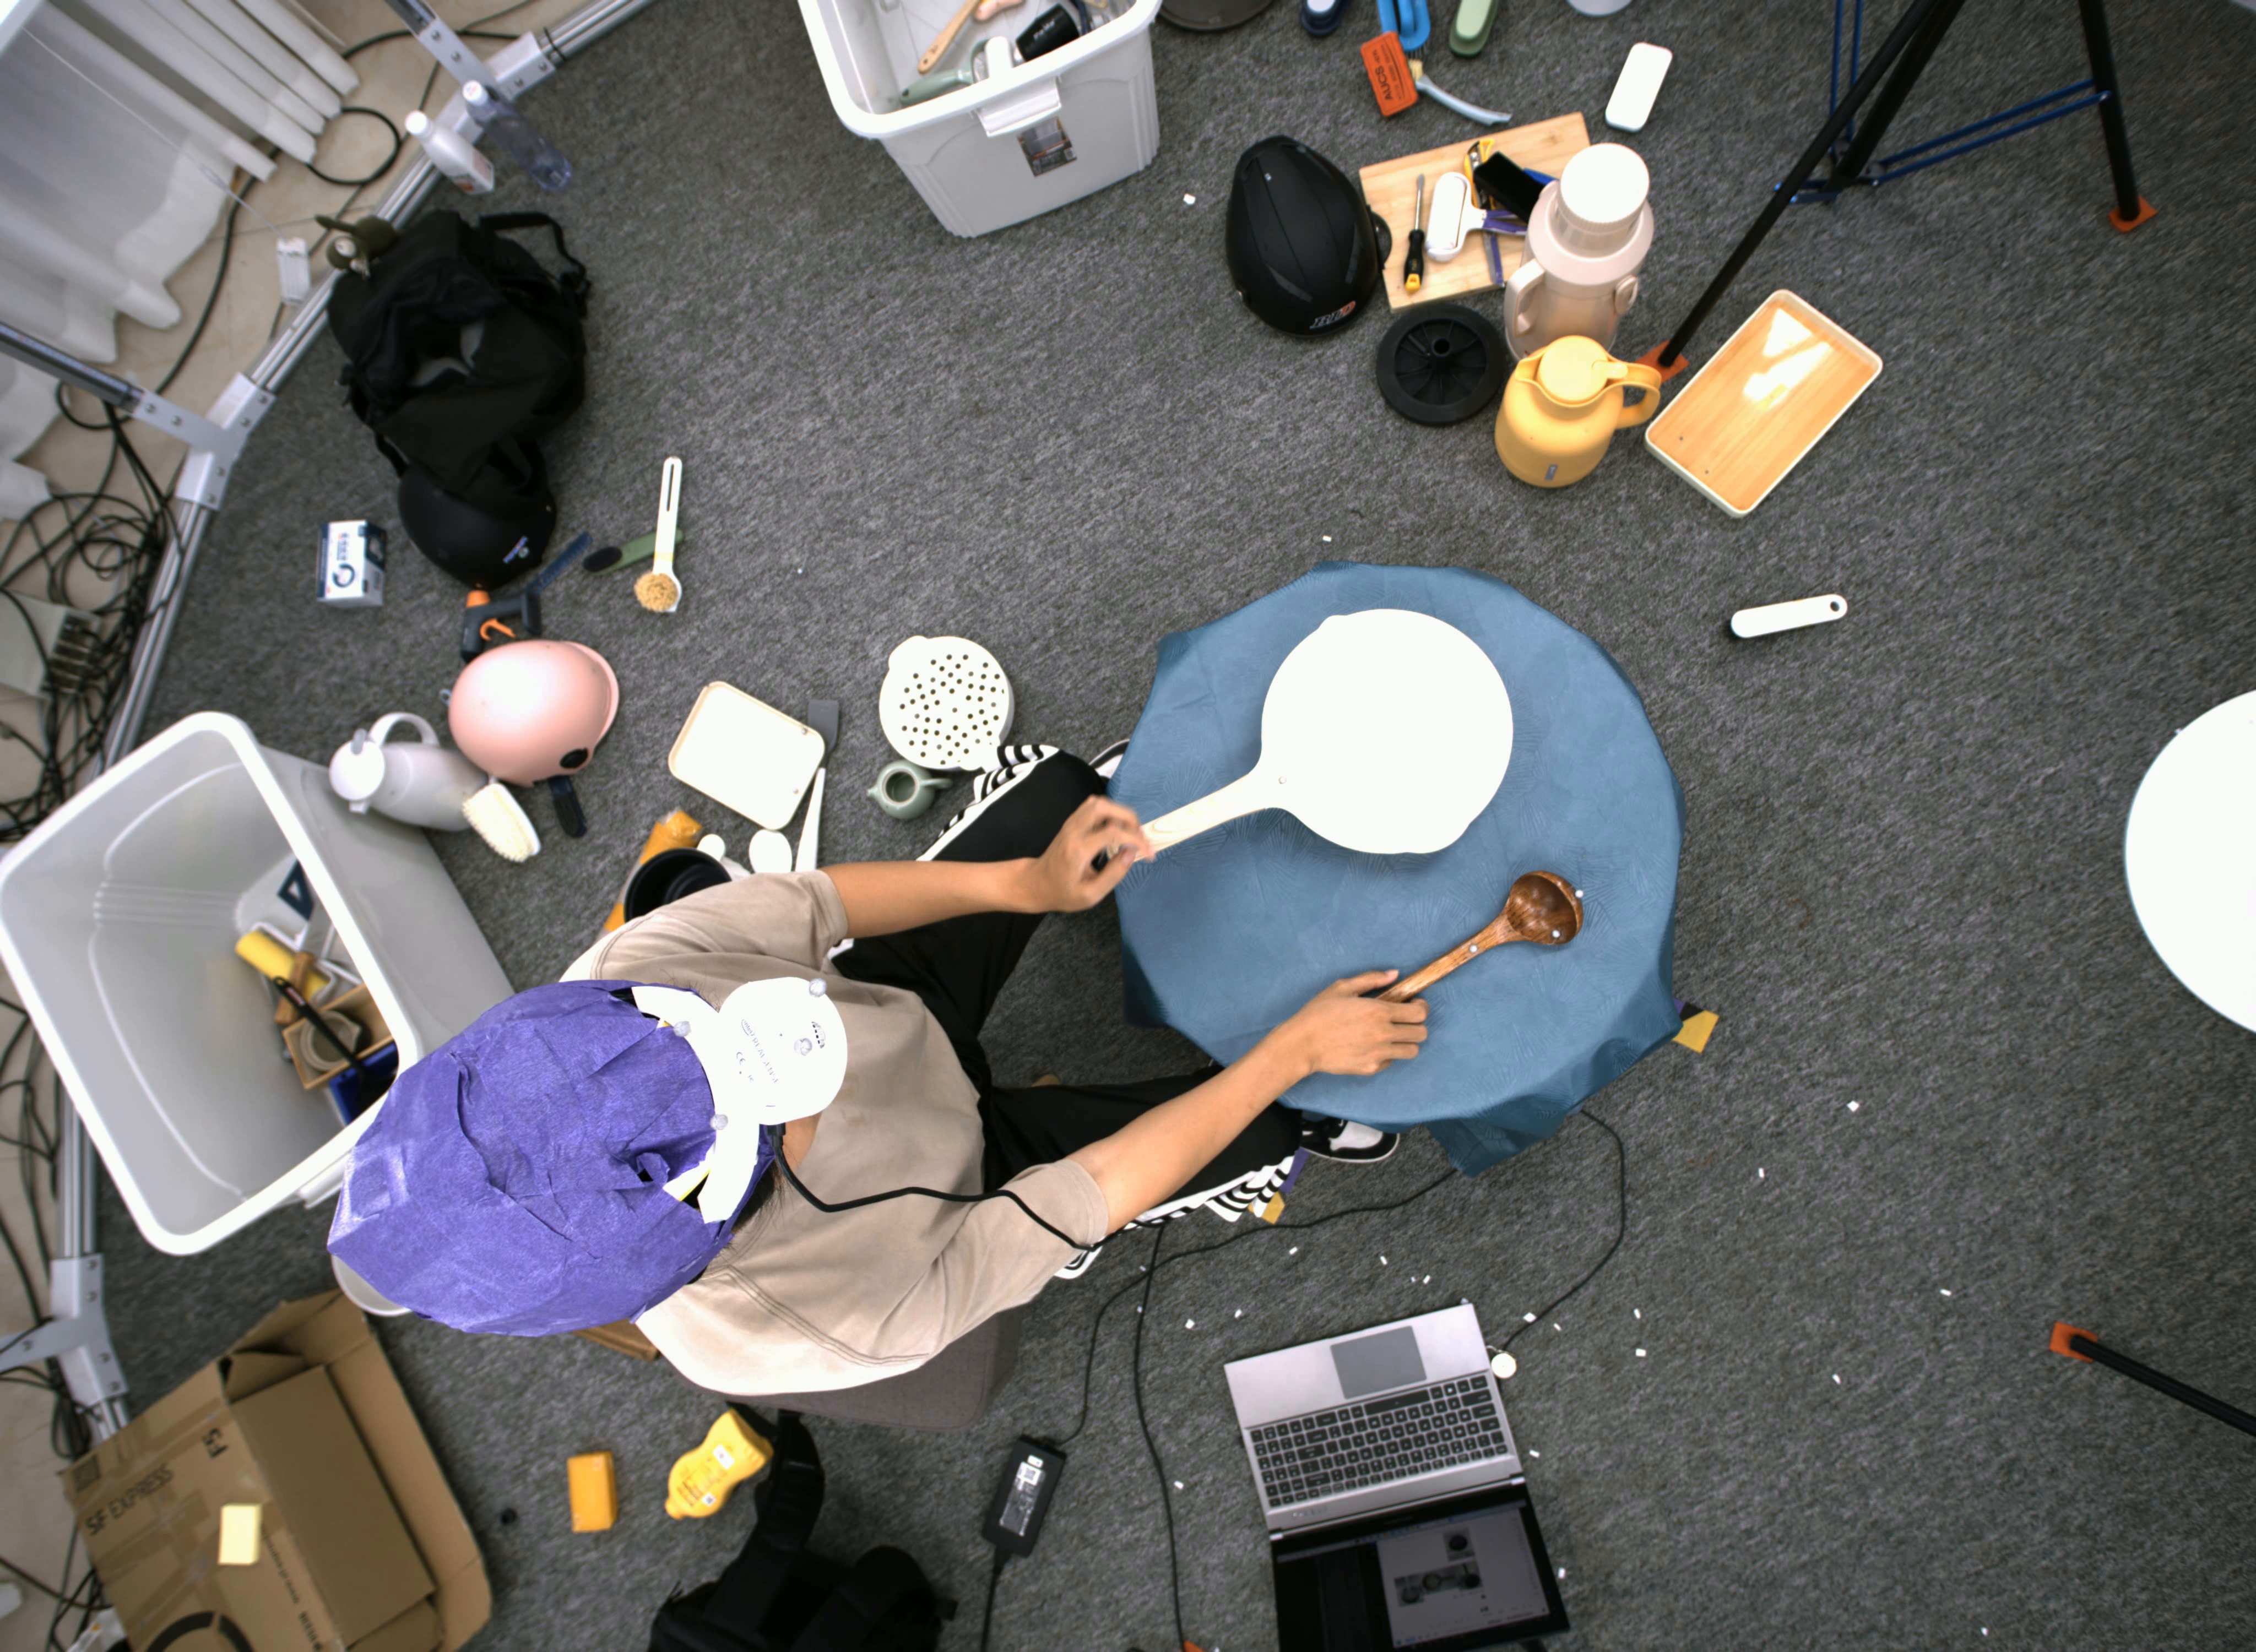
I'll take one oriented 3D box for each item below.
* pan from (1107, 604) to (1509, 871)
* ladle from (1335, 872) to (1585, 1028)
[{"bbox_3d":[0.180,-0.059,1.436,0.437,0.102,0.262,-26,84,8],"label":"pan"},{"bbox_3d":[0.336,0.136,1.405,0.275,0.076,0.081,-30,84,7],"label":"ladle"}]
